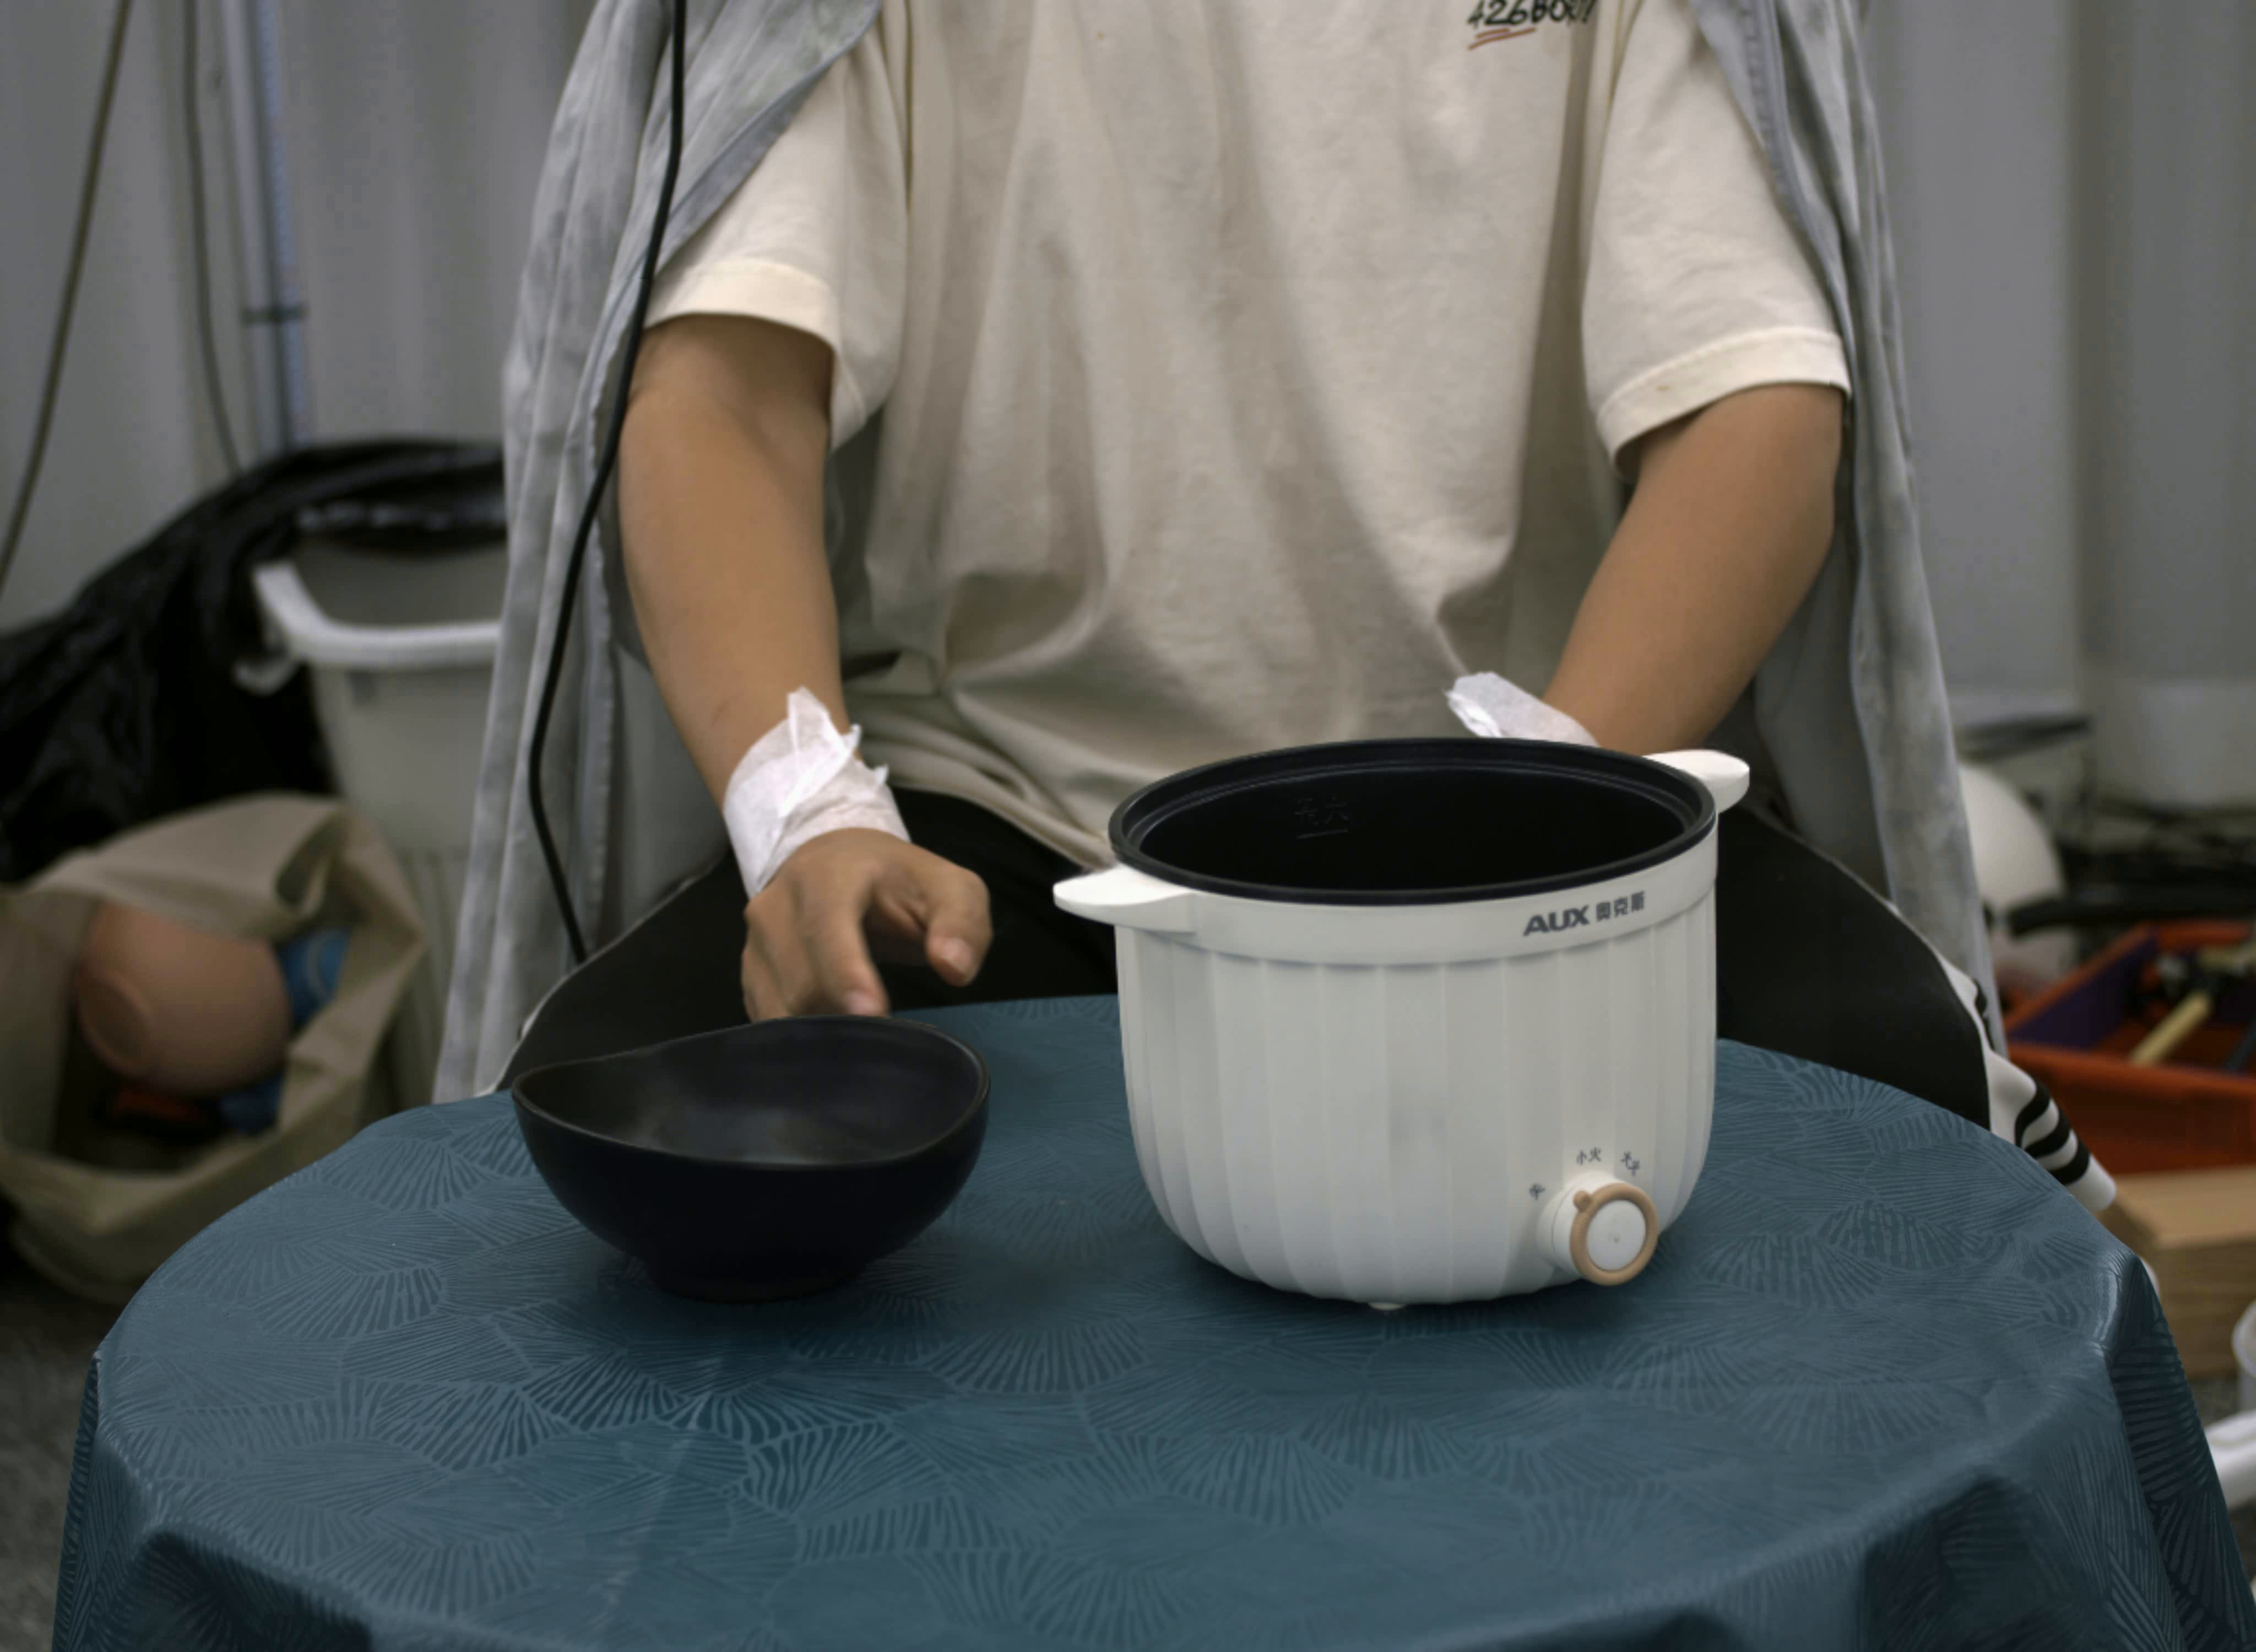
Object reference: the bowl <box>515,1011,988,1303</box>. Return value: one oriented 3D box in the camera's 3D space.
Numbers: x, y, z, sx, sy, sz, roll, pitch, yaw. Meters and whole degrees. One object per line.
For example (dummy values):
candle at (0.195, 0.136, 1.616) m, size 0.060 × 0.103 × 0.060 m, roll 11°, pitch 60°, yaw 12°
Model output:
bowl at (-0.114, 0.104, 1.655) m, size 0.137 × 0.066 × 0.171 m, roll -12°, pitch 16°, yaw -31°

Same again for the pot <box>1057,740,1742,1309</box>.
pot at (0.091, 0.061, 1.639) m, size 0.239 × 0.142 × 0.191 m, roll -12°, pitch 14°, yaw -29°
